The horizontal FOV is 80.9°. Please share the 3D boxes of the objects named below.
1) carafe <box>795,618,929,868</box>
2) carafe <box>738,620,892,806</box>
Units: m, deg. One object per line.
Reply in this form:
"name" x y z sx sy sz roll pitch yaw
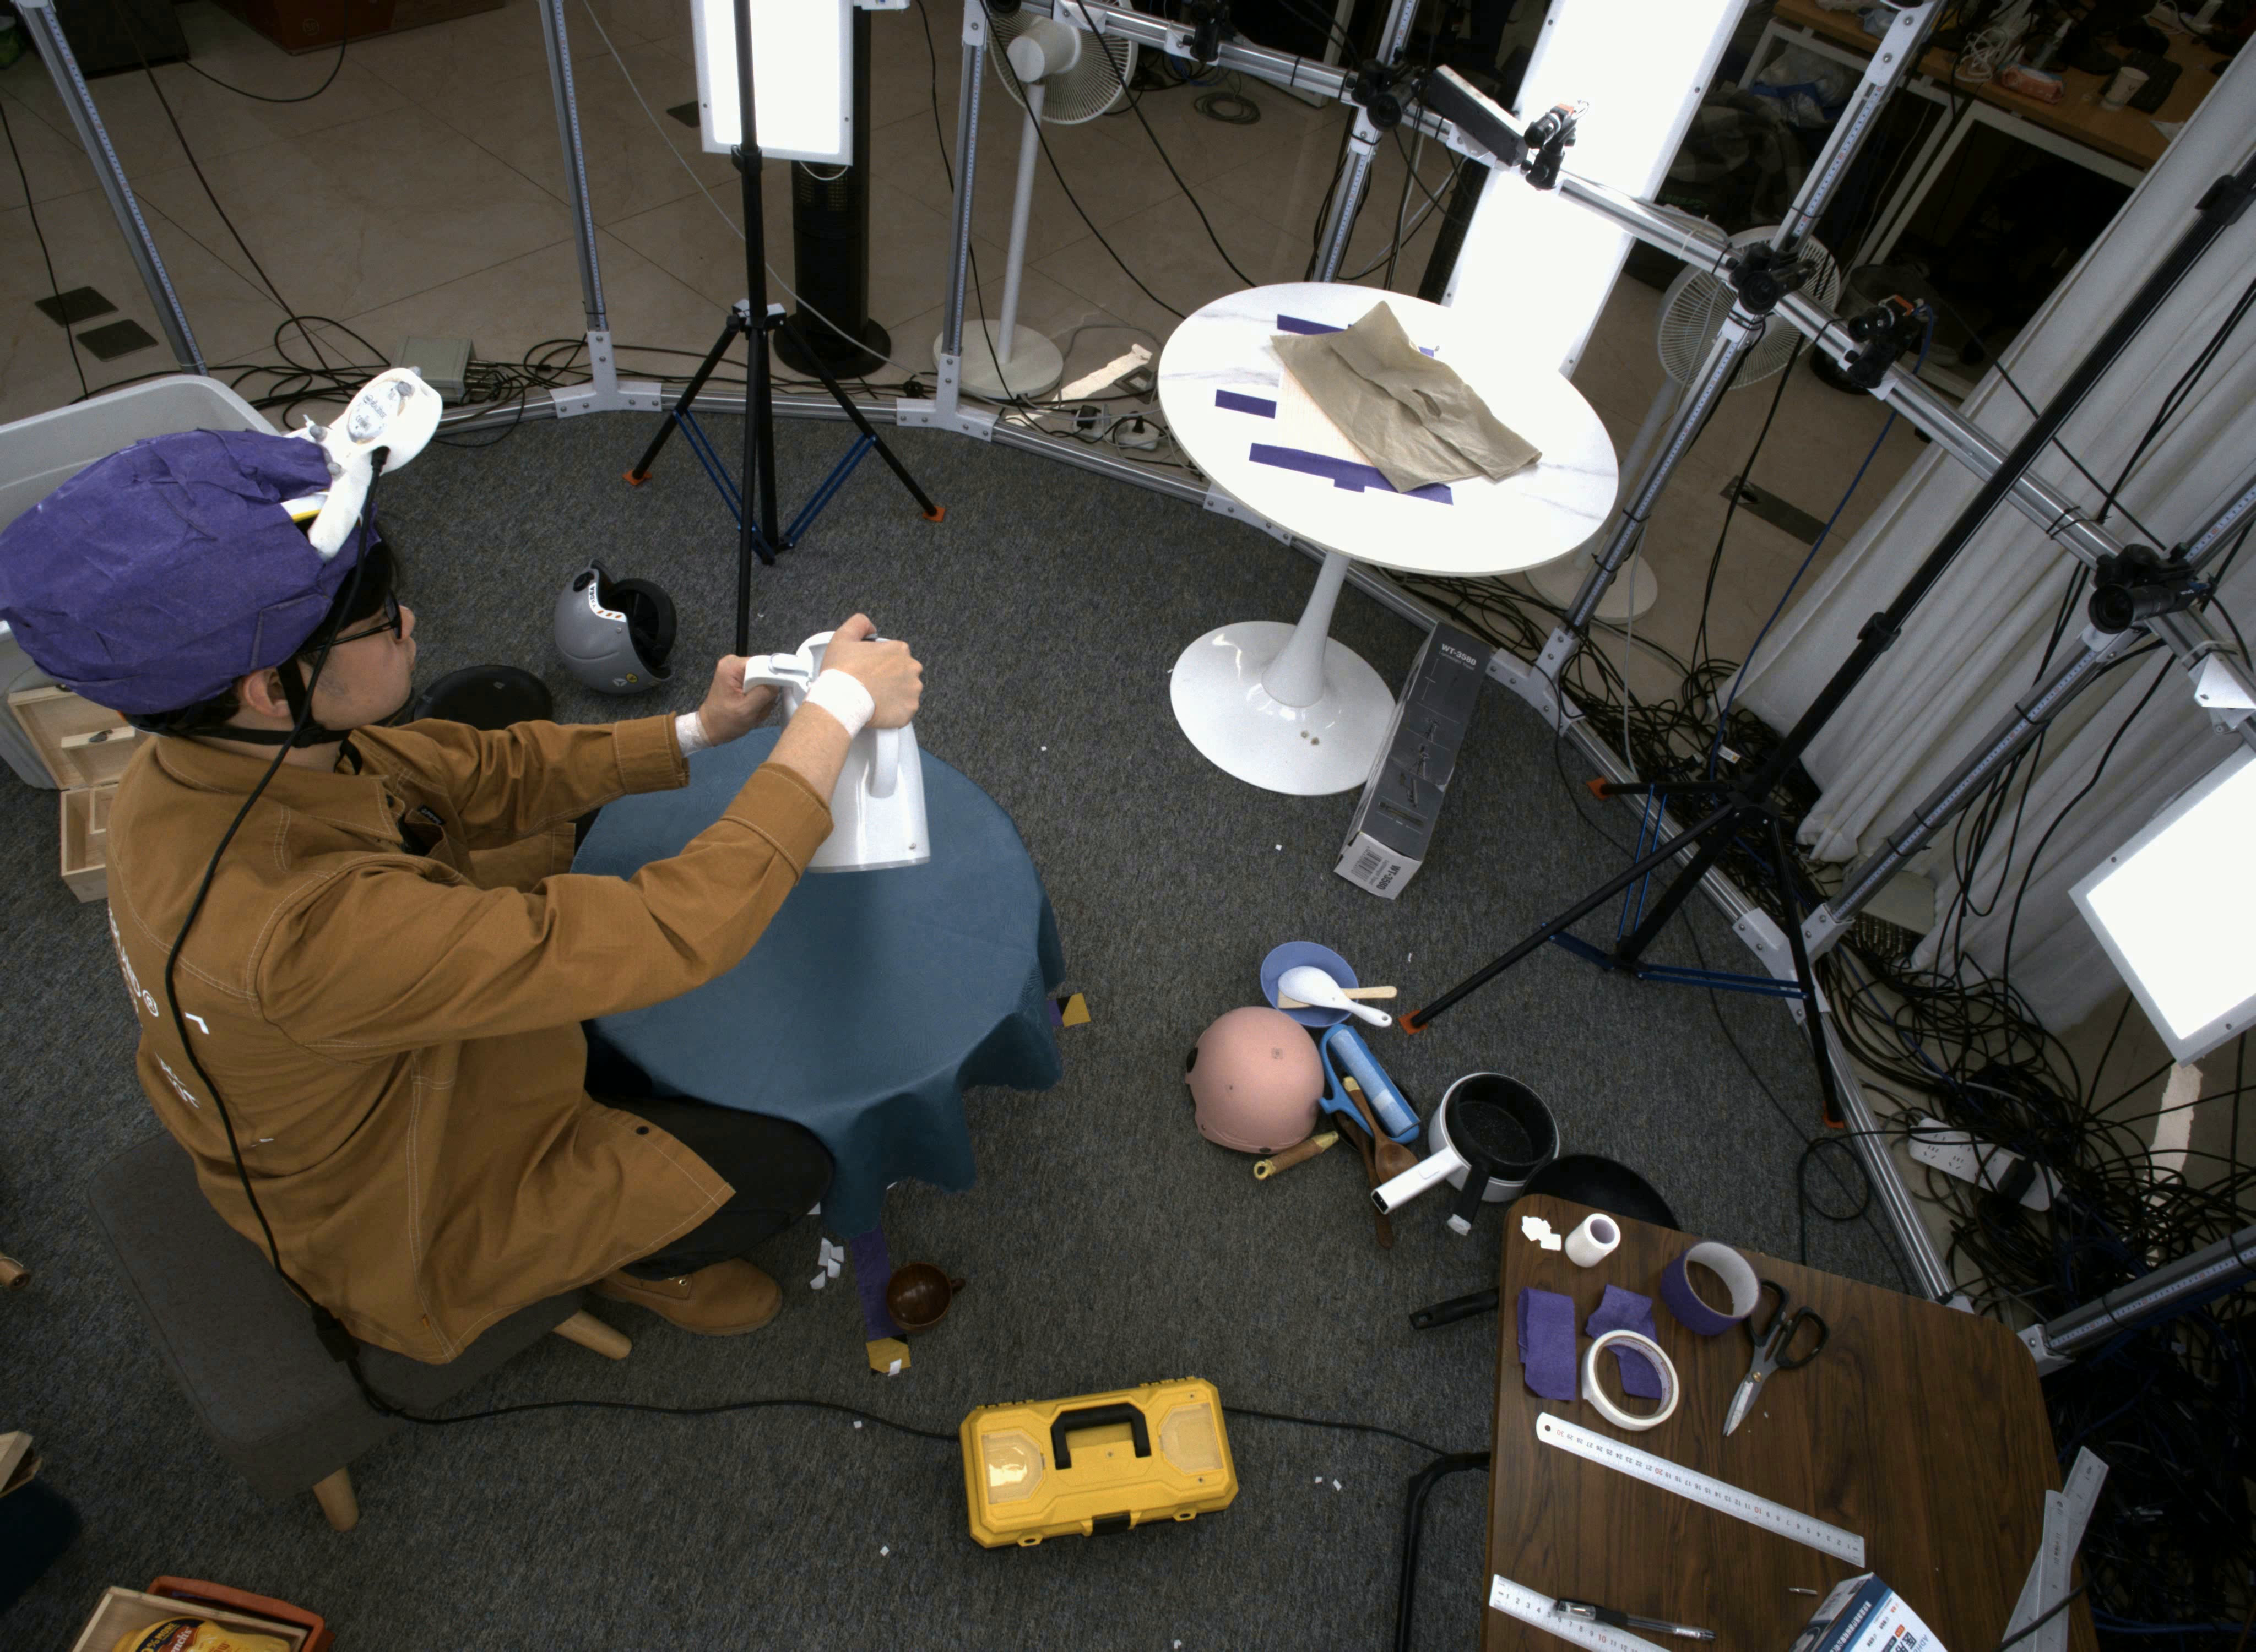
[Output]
"carafe" -0.280 -0.088 1.363 0.134 0.163 0.252 -7 95 -30
"carafe" -0.385 -0.129 1.575 0.173 0.271 0.122 4 65 -15
